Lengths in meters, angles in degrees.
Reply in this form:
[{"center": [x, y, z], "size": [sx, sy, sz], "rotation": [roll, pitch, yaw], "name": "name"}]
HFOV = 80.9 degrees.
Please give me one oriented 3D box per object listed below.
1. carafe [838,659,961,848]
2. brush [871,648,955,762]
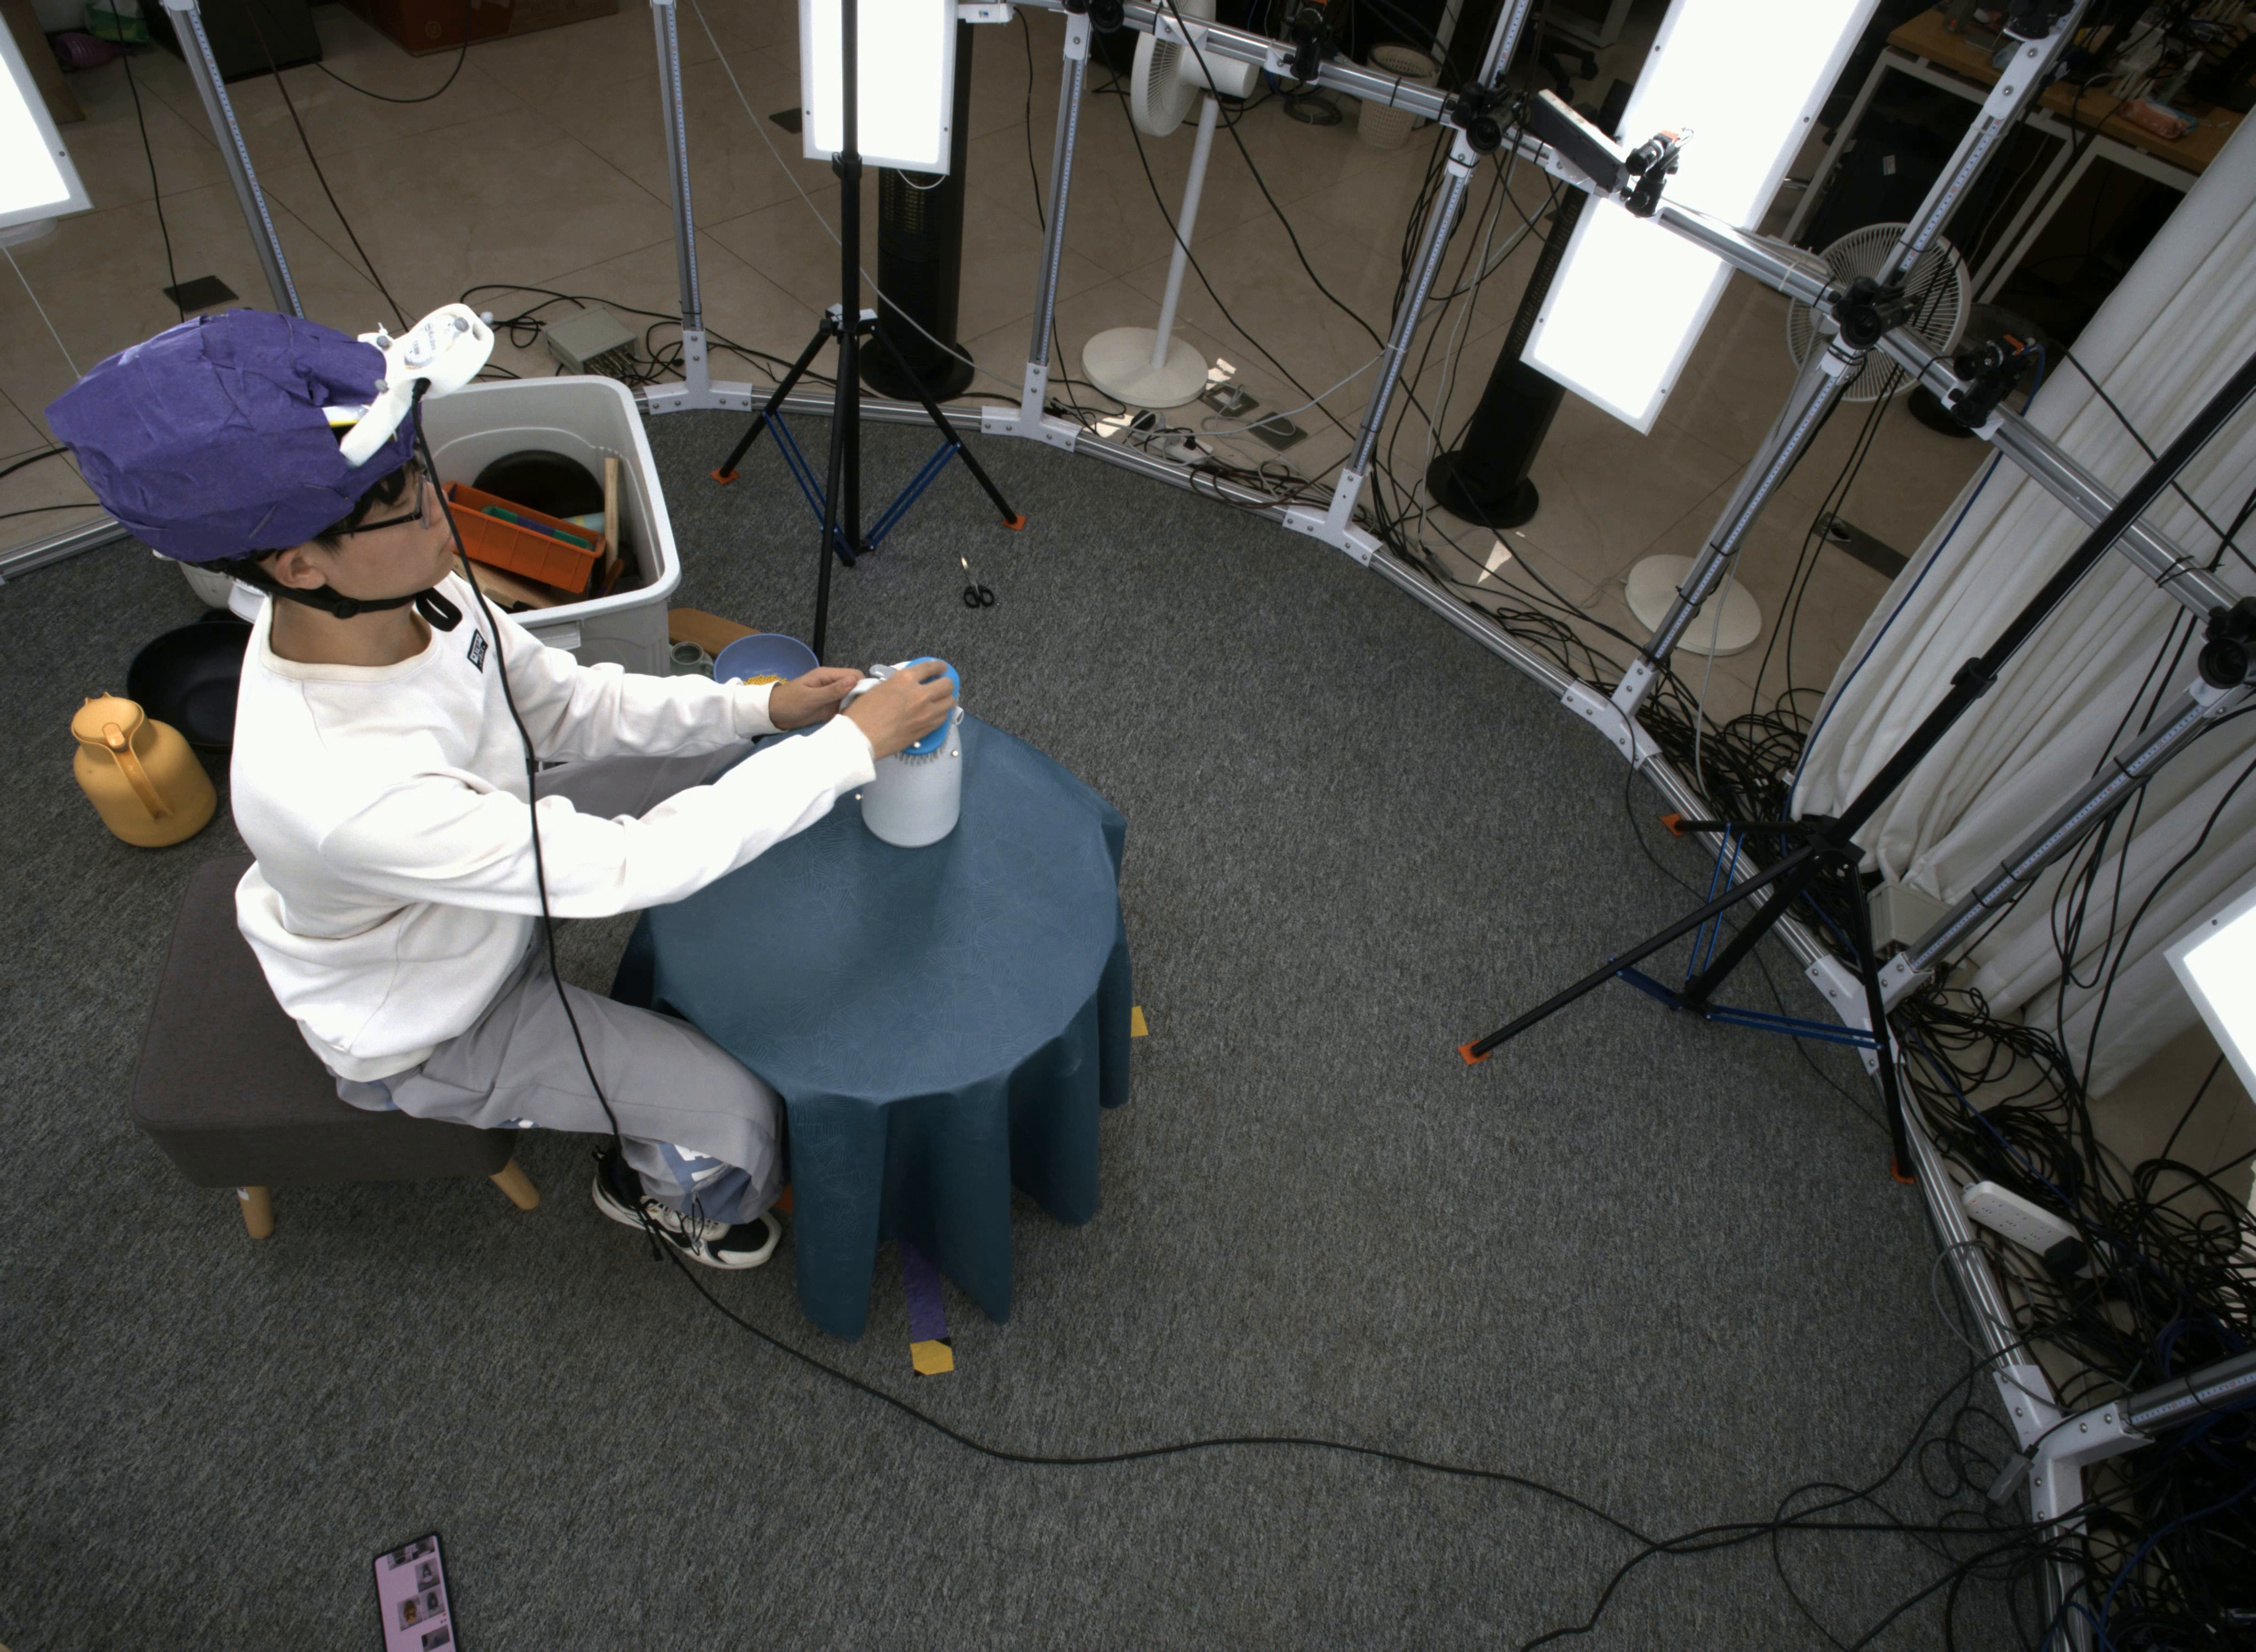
[{"center": [-0.298, -0.107, 1.683], "size": [0.165, 0.254, 0.131], "rotation": [21, 52, 7], "name": "carafe"}, {"center": [-0.253, -0.150, 1.533], "size": [0.084, 0.064, 0.140], "rotation": [15, 63, -6], "name": "brush"}]
